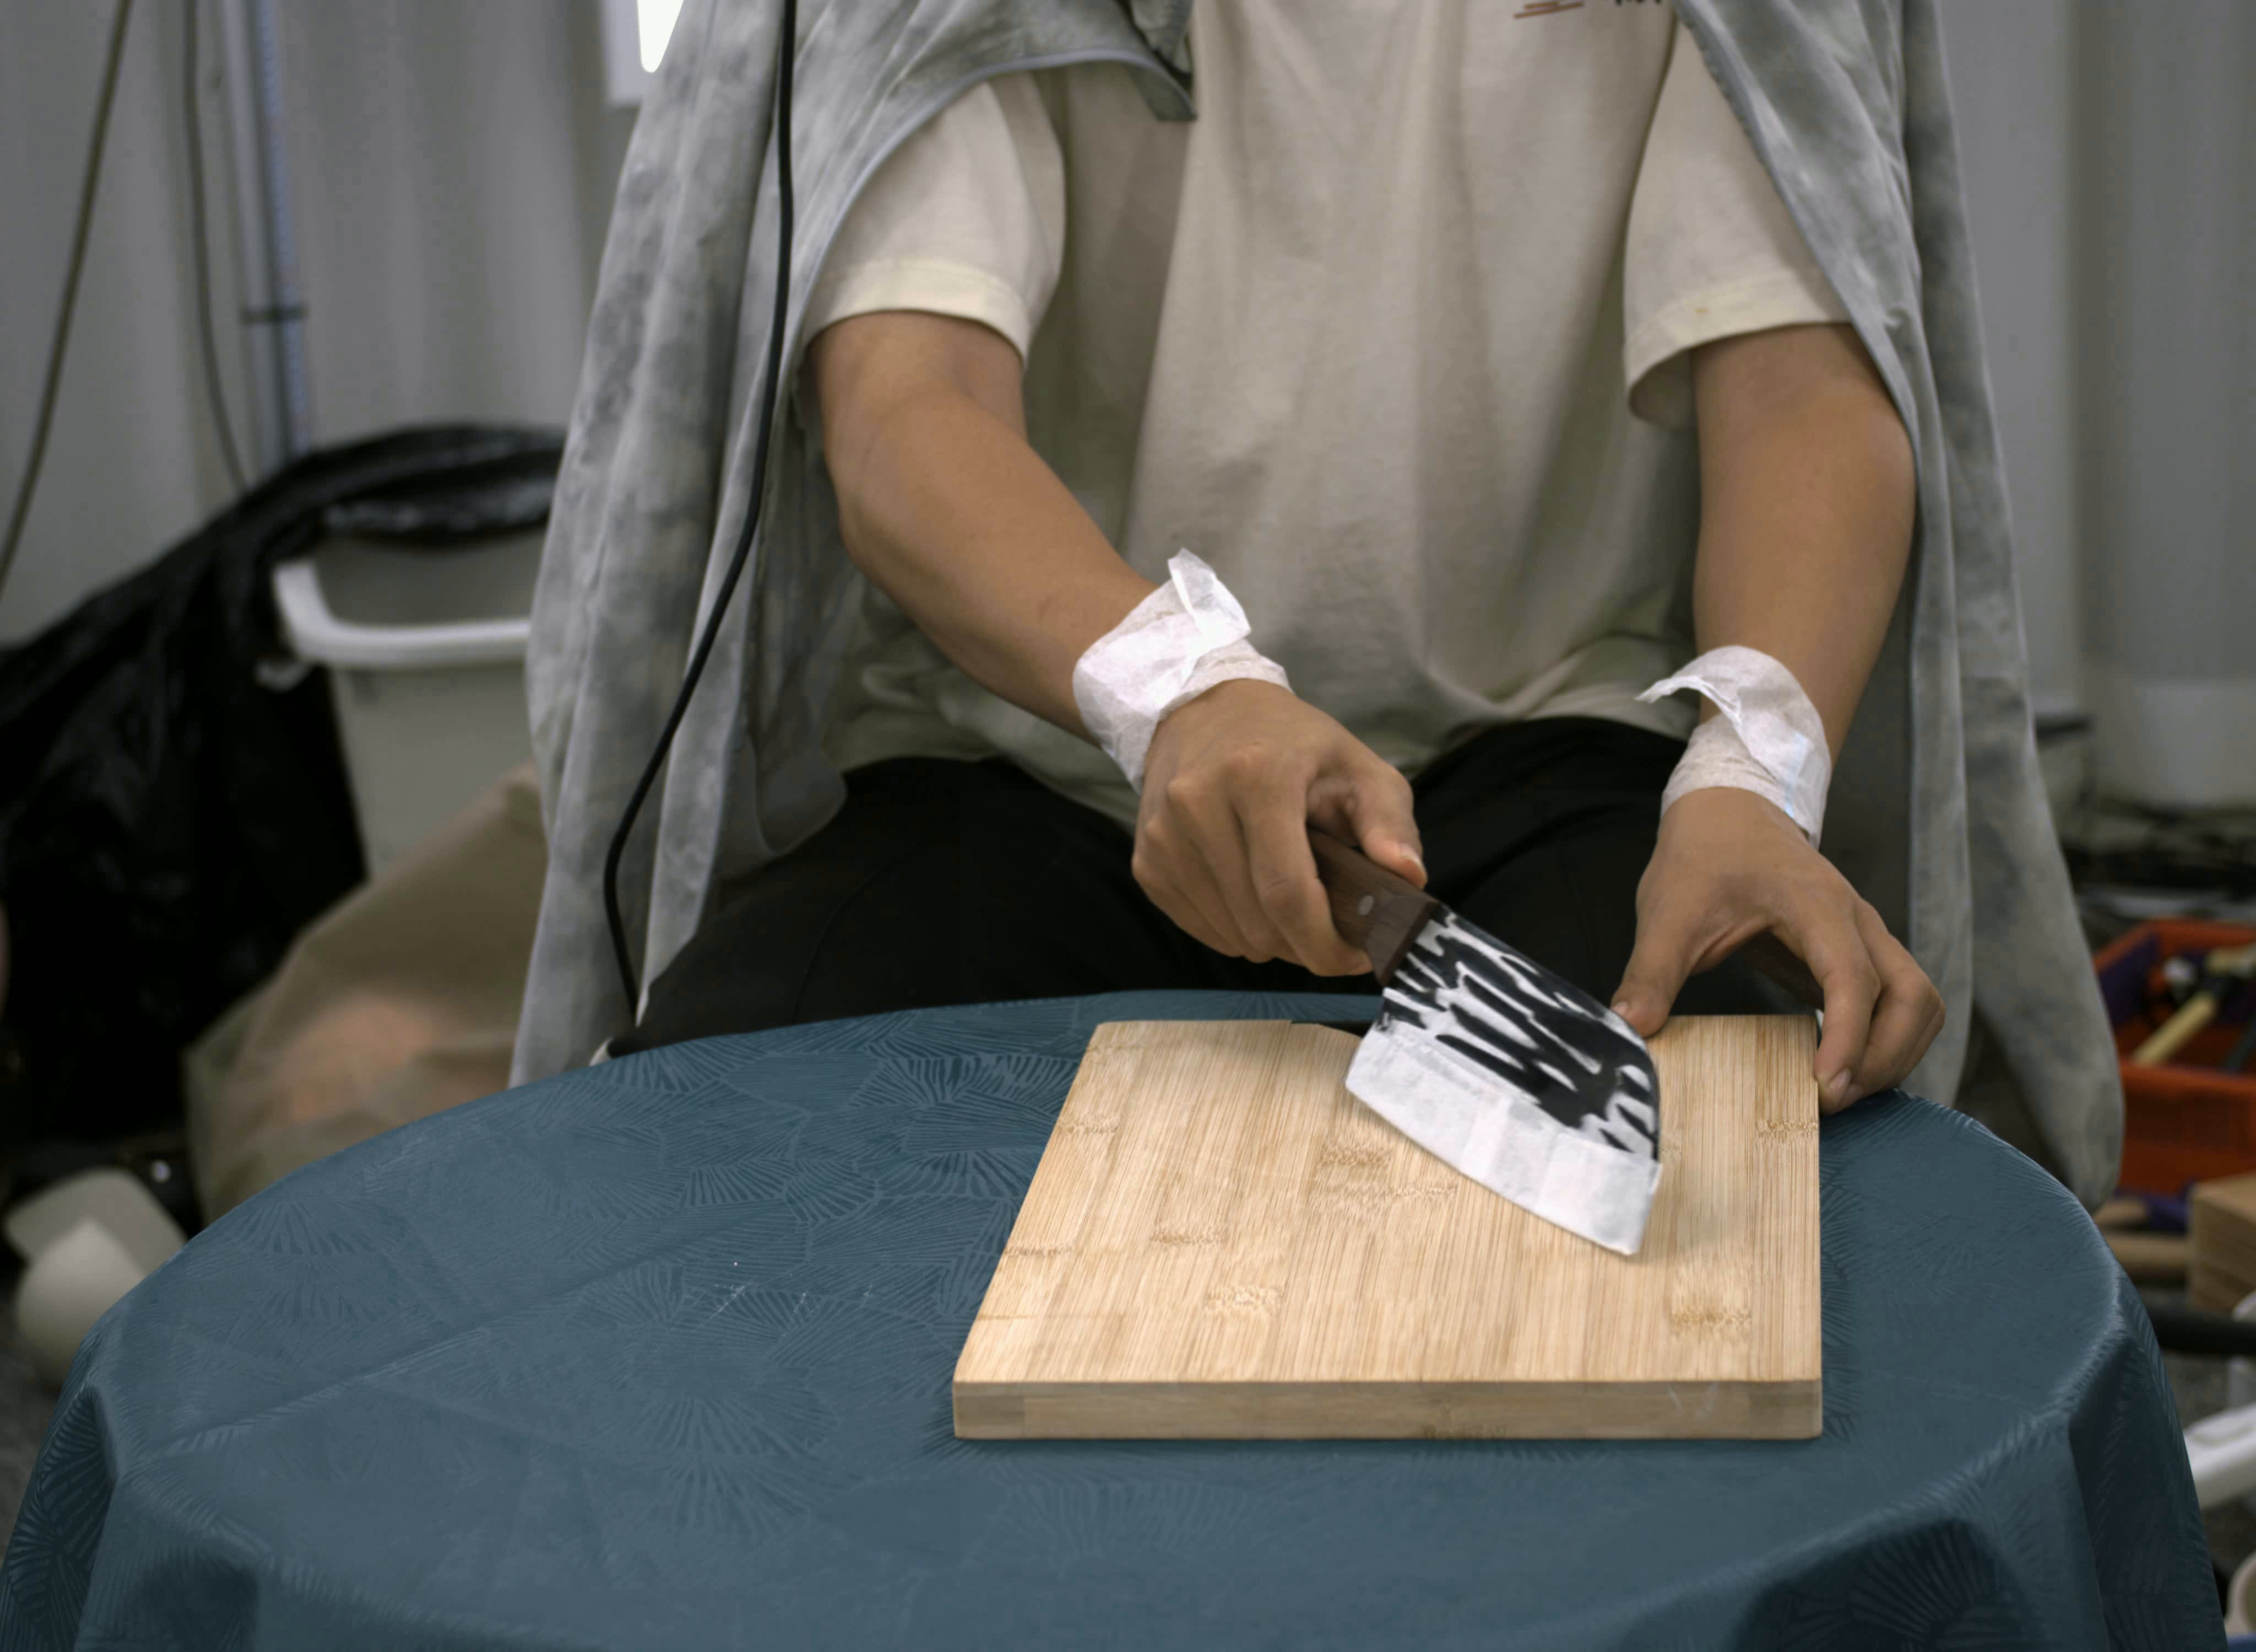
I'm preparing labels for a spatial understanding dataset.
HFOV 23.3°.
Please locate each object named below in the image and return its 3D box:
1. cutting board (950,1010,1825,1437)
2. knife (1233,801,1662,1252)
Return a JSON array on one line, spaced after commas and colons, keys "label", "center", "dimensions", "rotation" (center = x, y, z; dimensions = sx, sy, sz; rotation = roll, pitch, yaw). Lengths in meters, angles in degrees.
[{"label": "cutting board", "center": [0.090, 0.116, 1.666], "dimensions": [0.250, 0.023, 0.350], "rotation": [-1, 15, 6]}, {"label": "knife", "center": [0.095, 0.059, 1.709], "dimensions": [0.024, 0.068, 0.302], "rotation": [24, 5, -30]}]
